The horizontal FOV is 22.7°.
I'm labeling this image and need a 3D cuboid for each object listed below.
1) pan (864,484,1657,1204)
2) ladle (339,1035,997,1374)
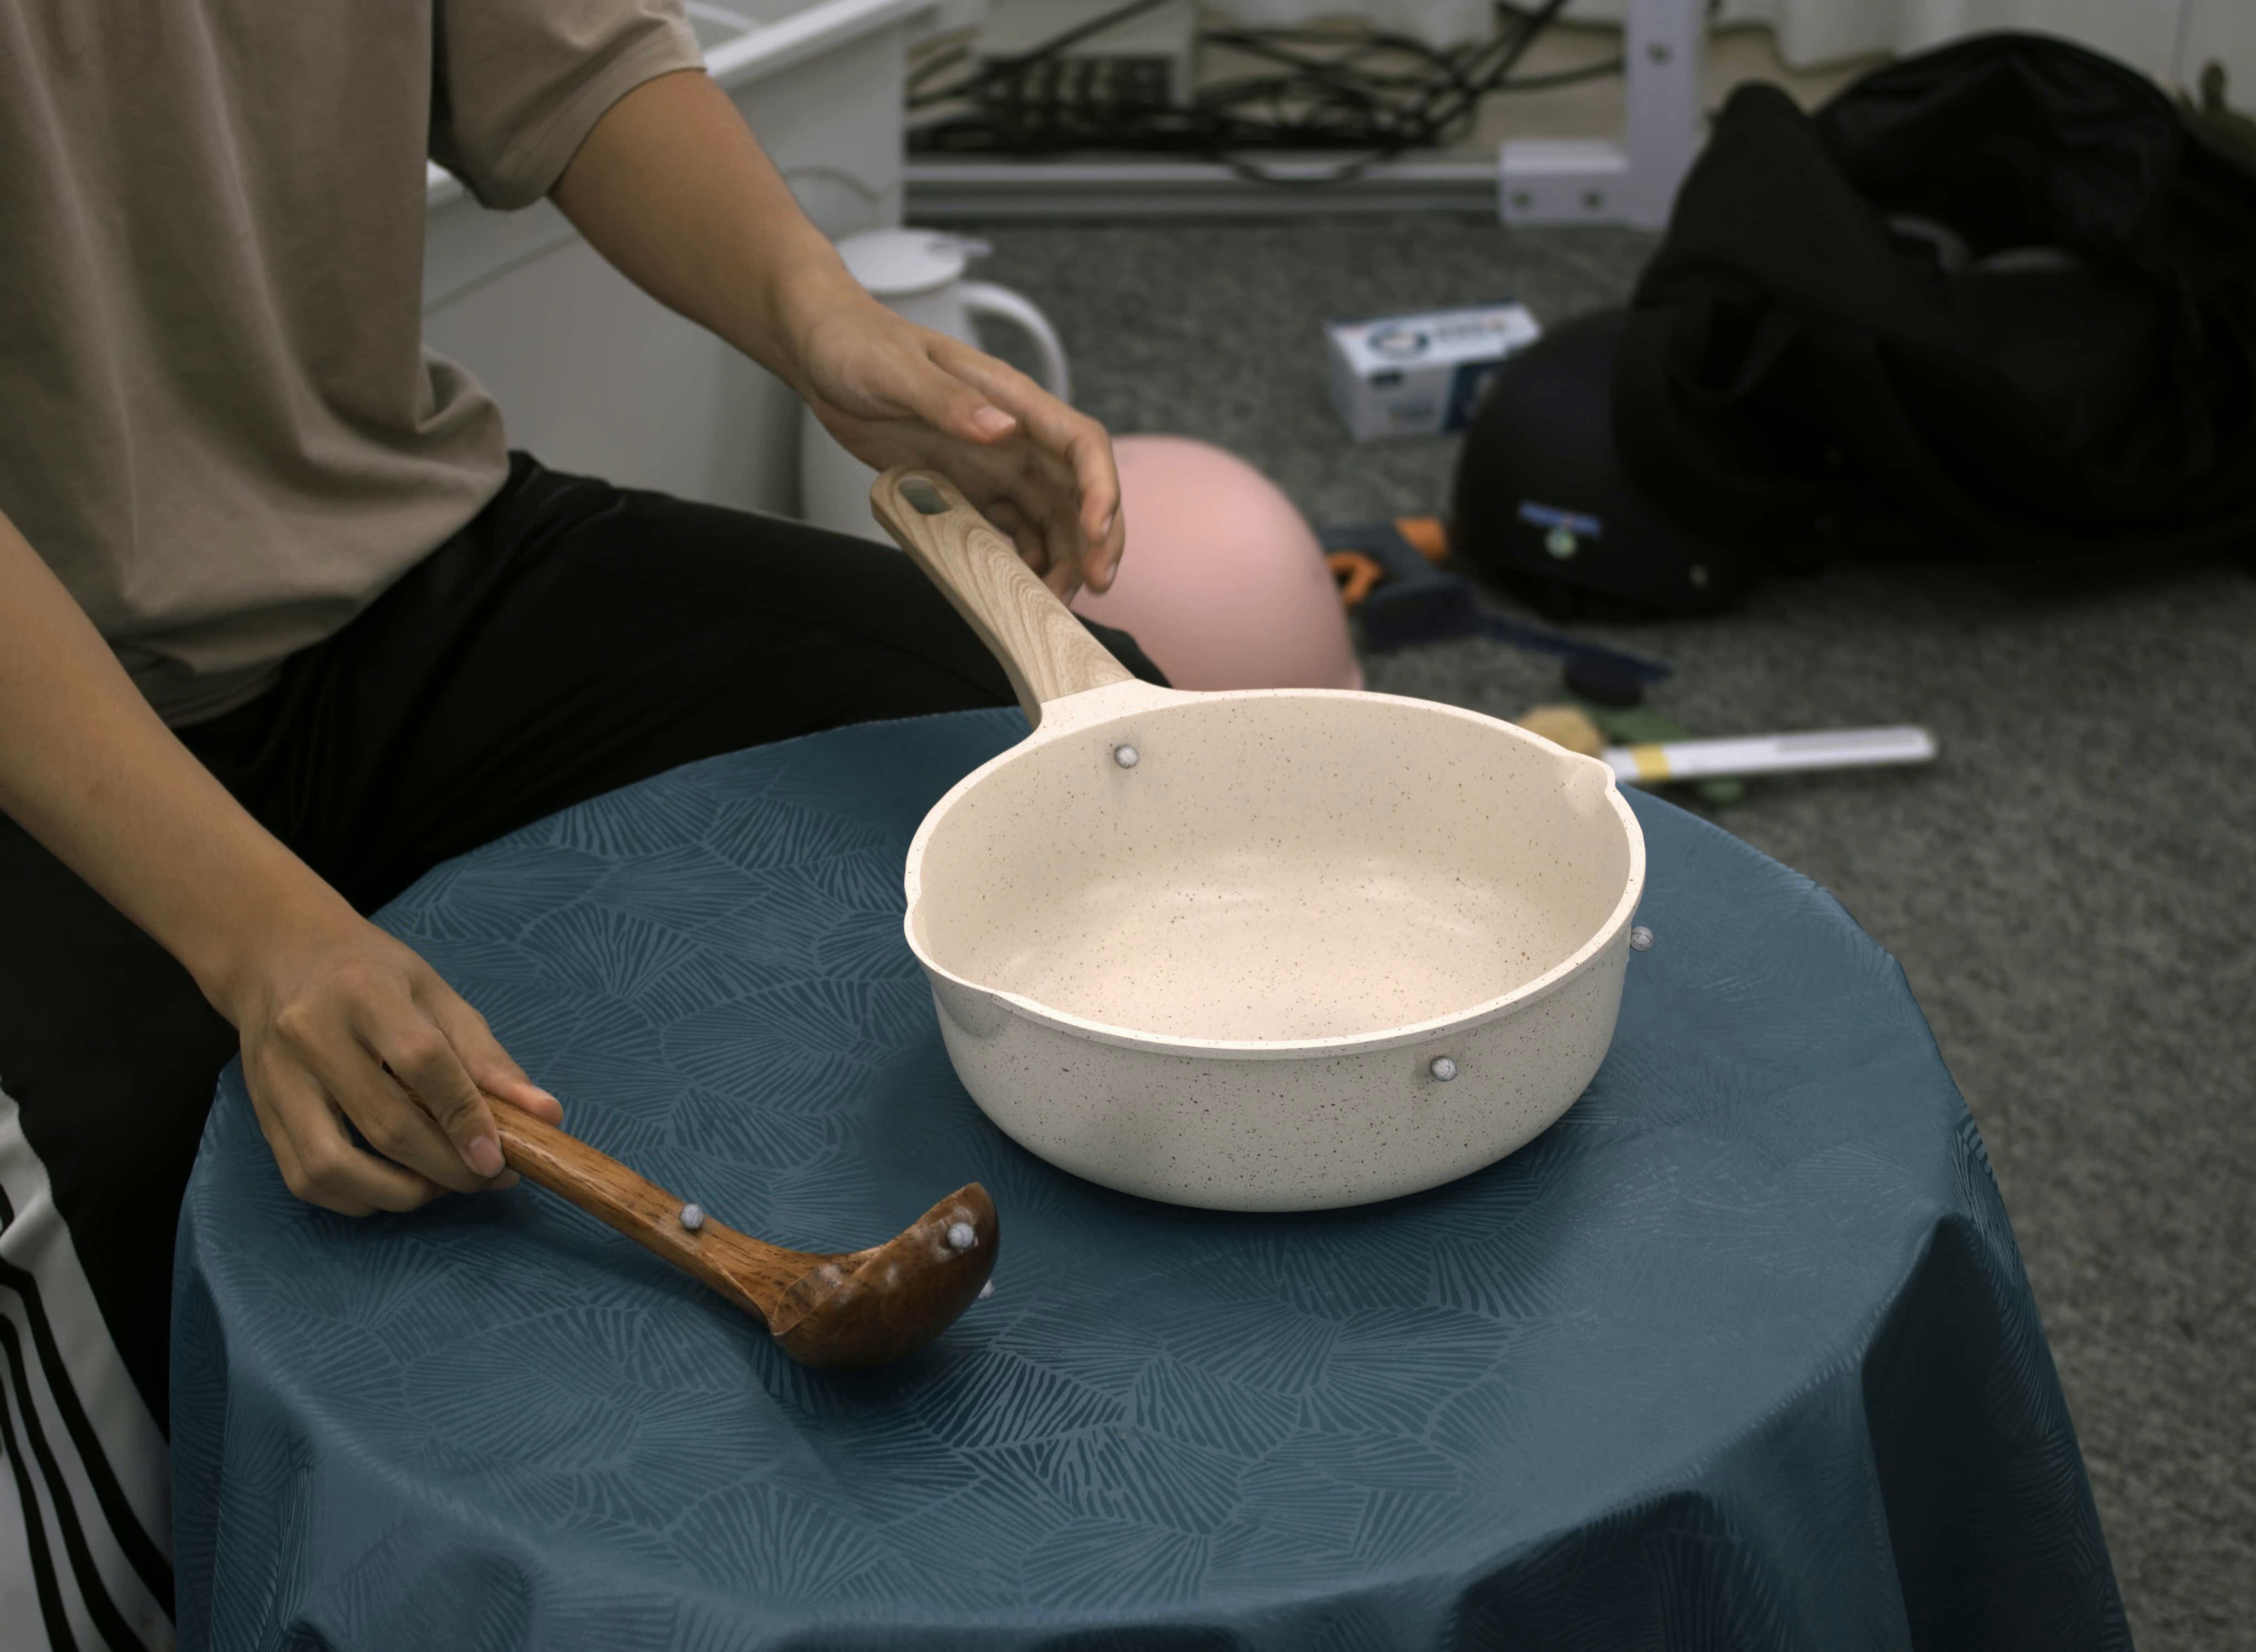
[{"bbox_3d":[0.014,0.000,1.987,0.264,0.101,0.437,-16,30,-22],"label":"pan"},{"bbox_3d":[-0.157,0.103,1.810,0.274,0.075,0.083,26,35,32],"label":"ladle"}]
